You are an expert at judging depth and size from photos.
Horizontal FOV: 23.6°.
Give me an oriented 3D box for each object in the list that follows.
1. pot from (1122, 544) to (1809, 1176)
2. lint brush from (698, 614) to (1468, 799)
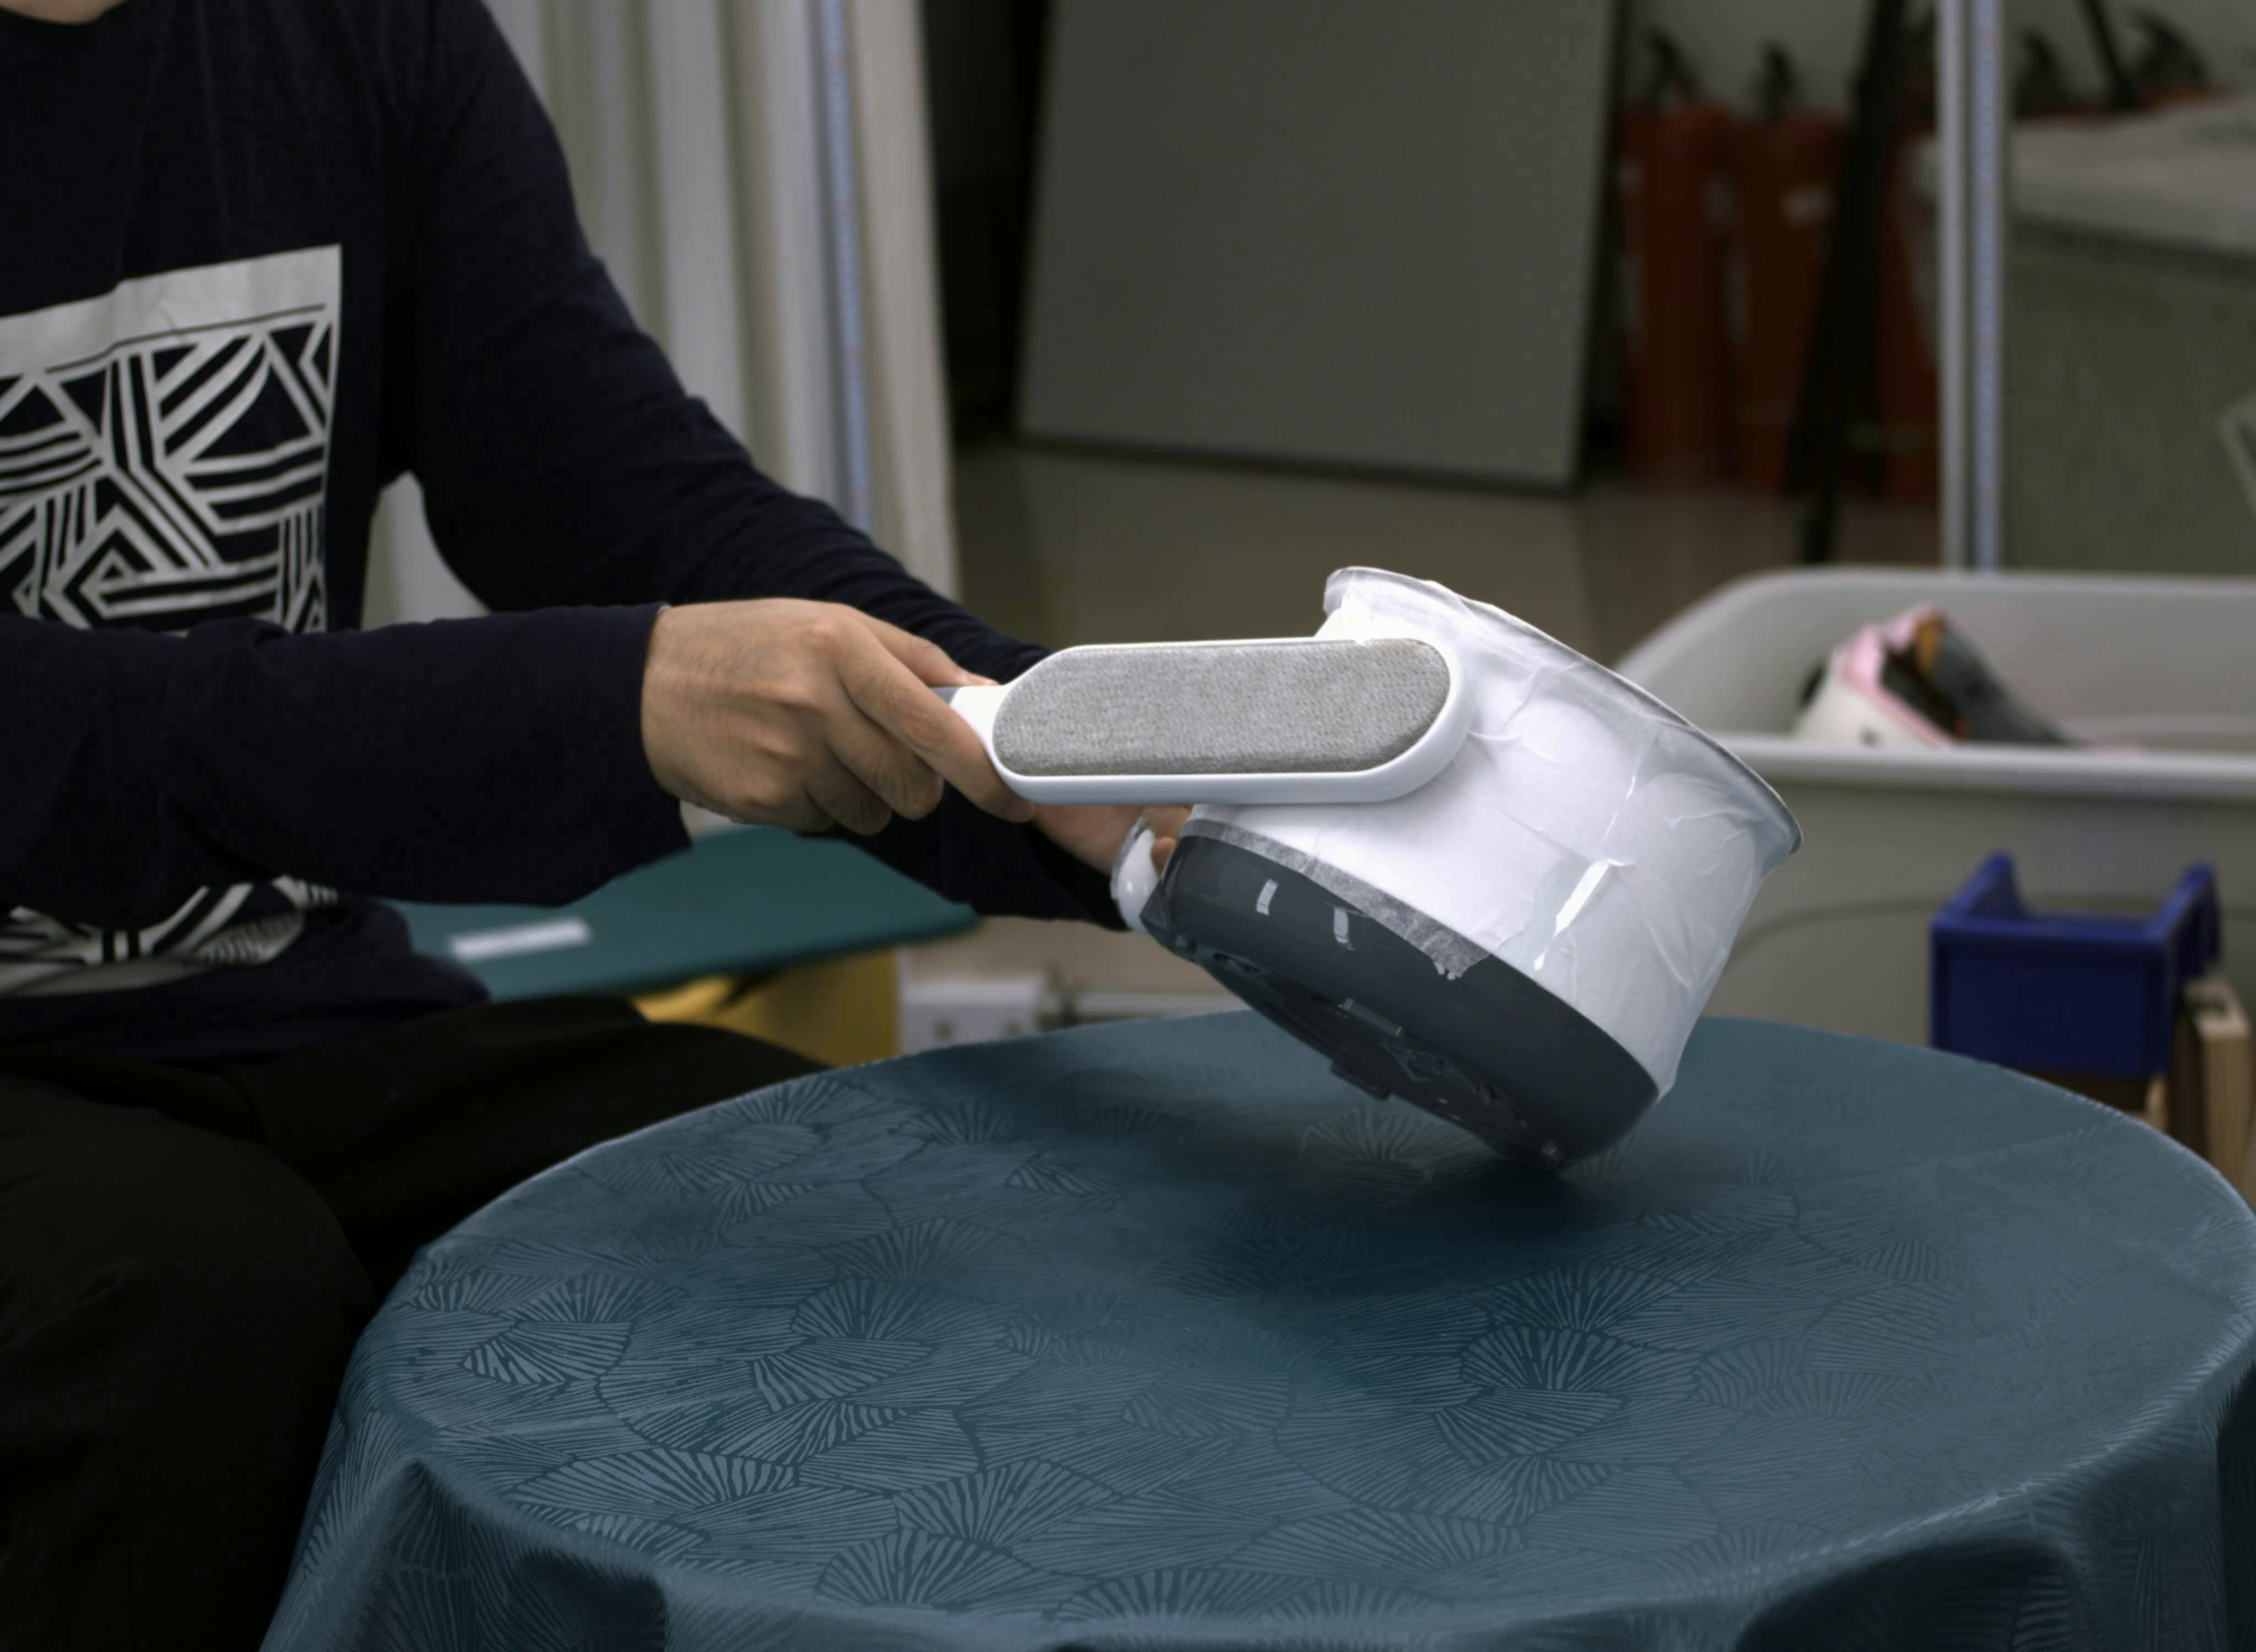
[{"bbox_3d":[0.094,0.007,1.754,0.176,0.137,0.236,41,-13,-38],"label":"pot"},{"bbox_3d":[-0.021,-0.037,1.733,0.311,0.060,0.020,-1,-30,39],"label":"lint brush"}]
